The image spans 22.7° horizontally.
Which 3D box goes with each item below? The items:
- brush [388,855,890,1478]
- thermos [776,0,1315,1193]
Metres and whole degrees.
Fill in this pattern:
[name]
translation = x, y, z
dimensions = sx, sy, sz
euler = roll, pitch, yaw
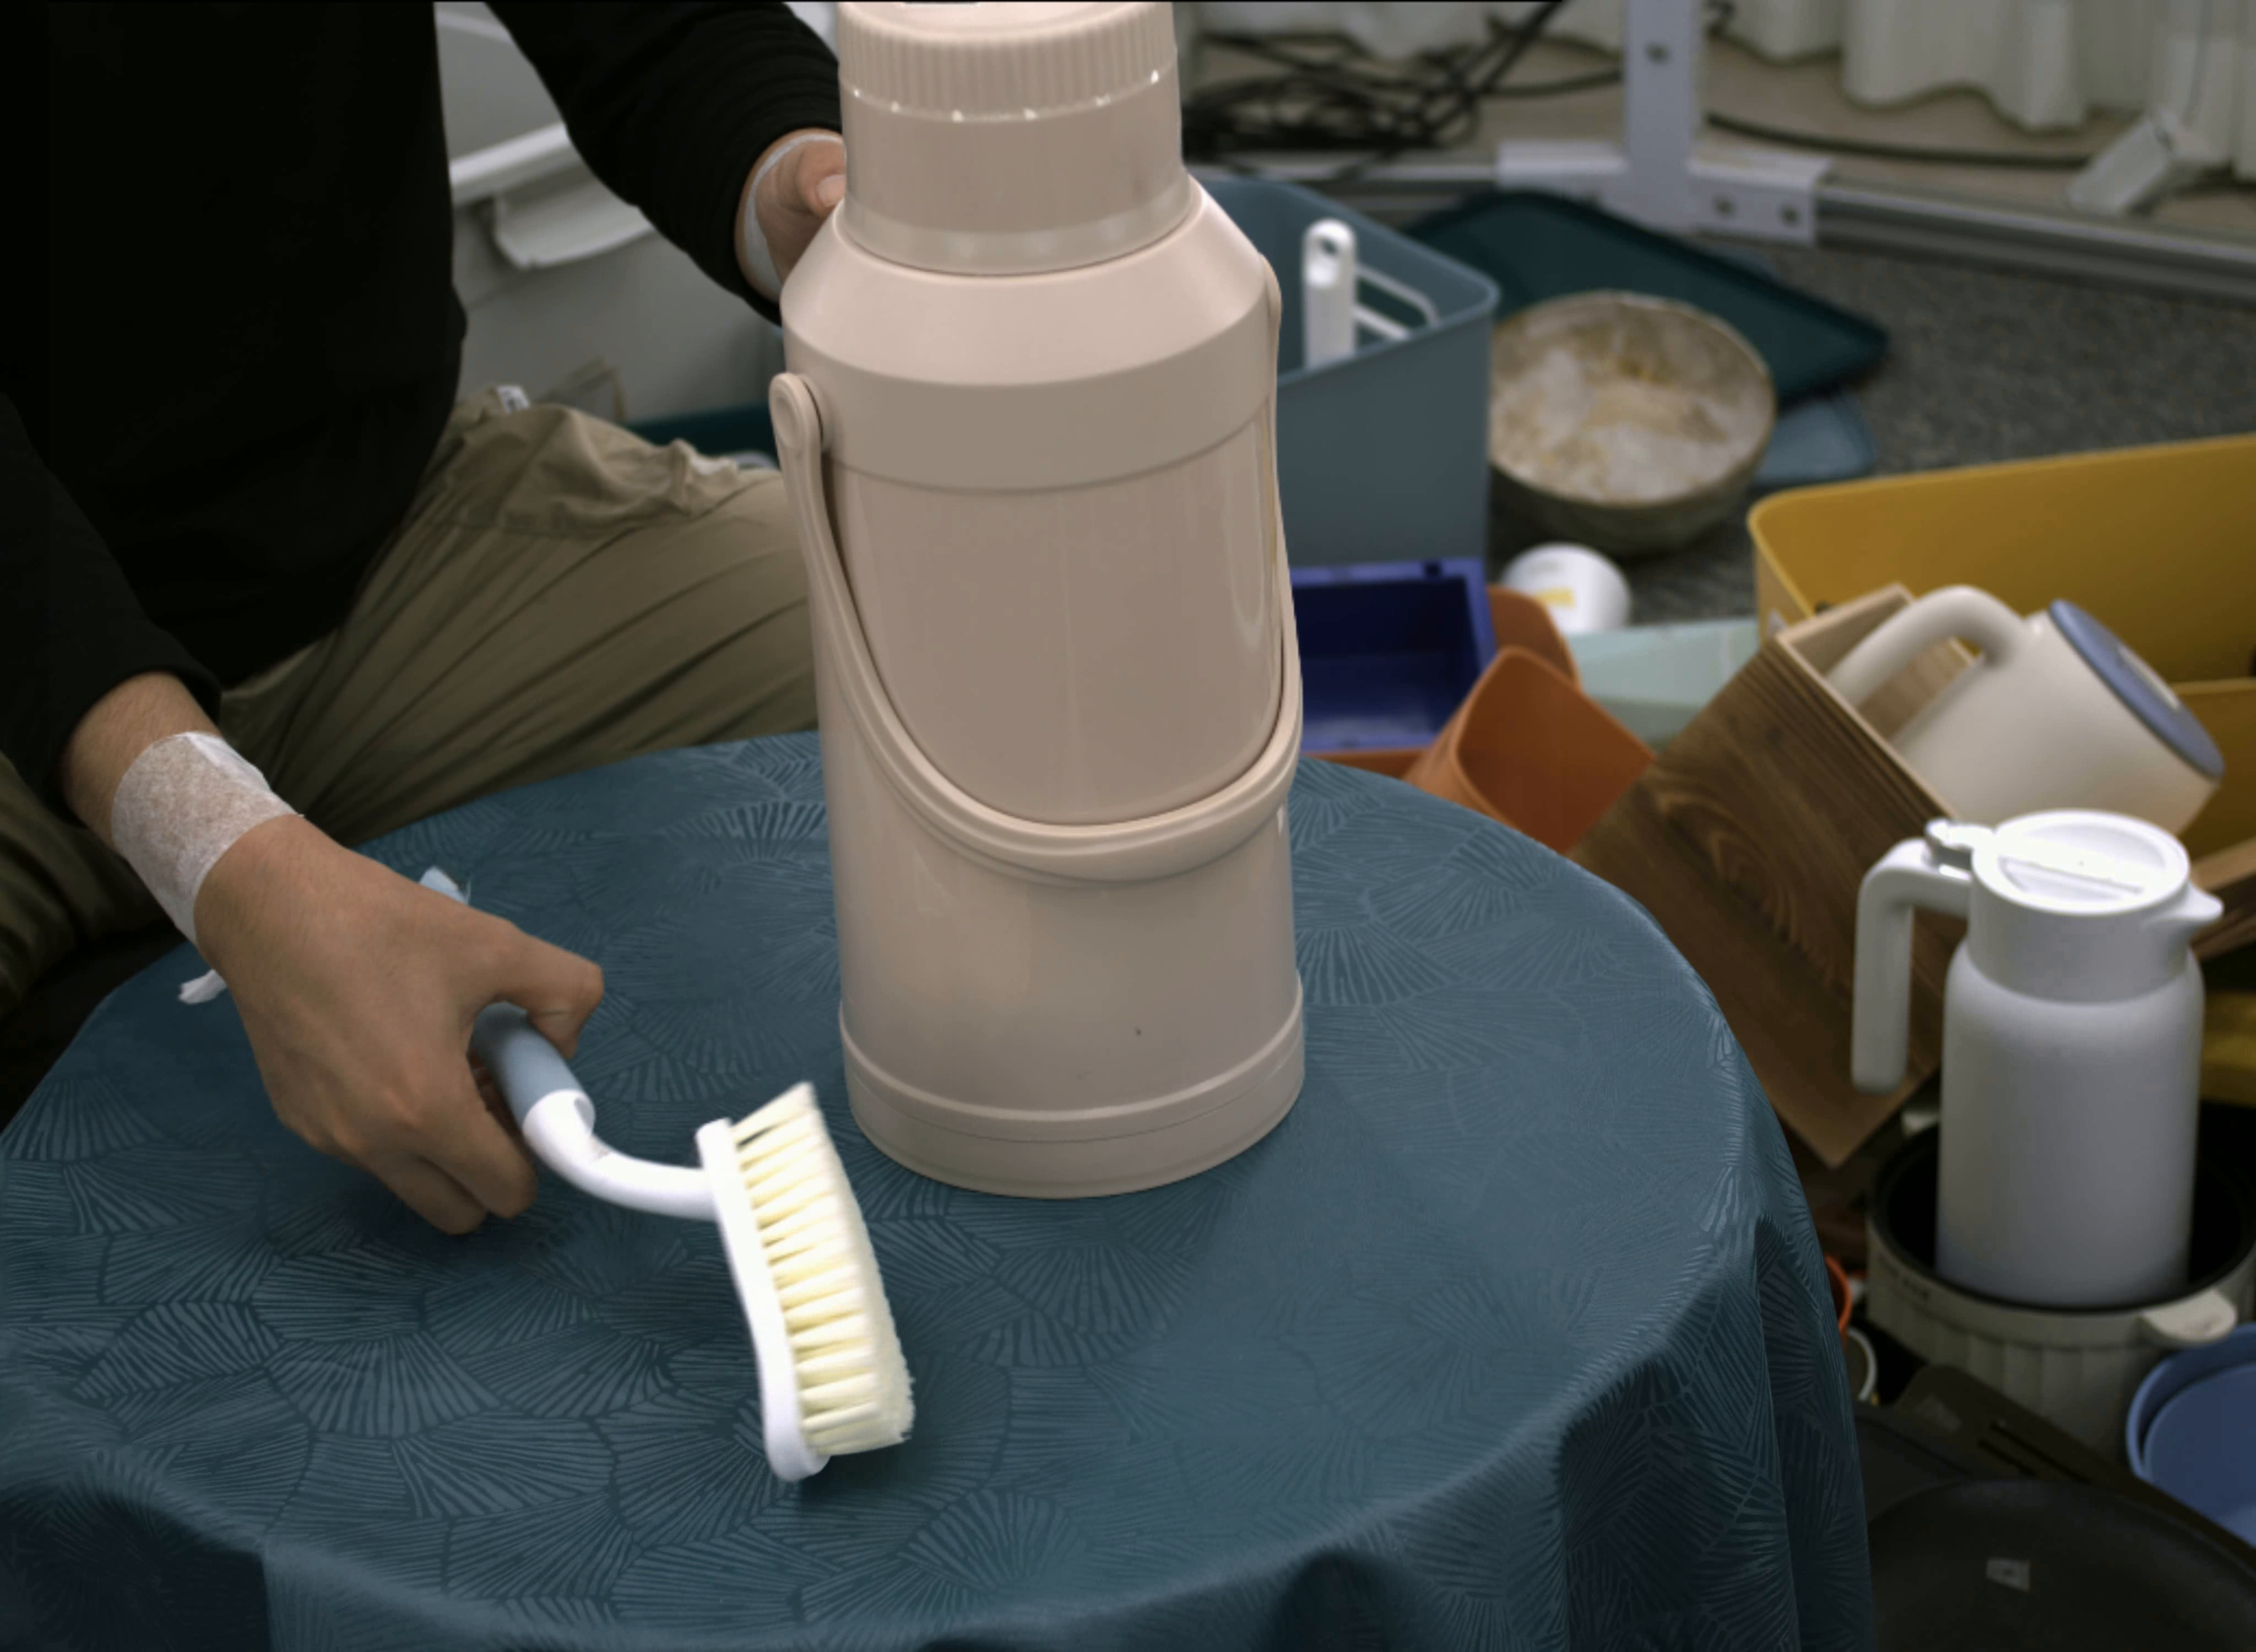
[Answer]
[brush]
translation = -0.147, 0.087, 1.816
dimensions = 0.085, 0.082, 0.329
euler = 2, 32, -31
[thermos]
translation = -0.032, -0.095, 1.857
dimensions = 0.176, 0.402, 0.208
euler = -18, 30, -25
